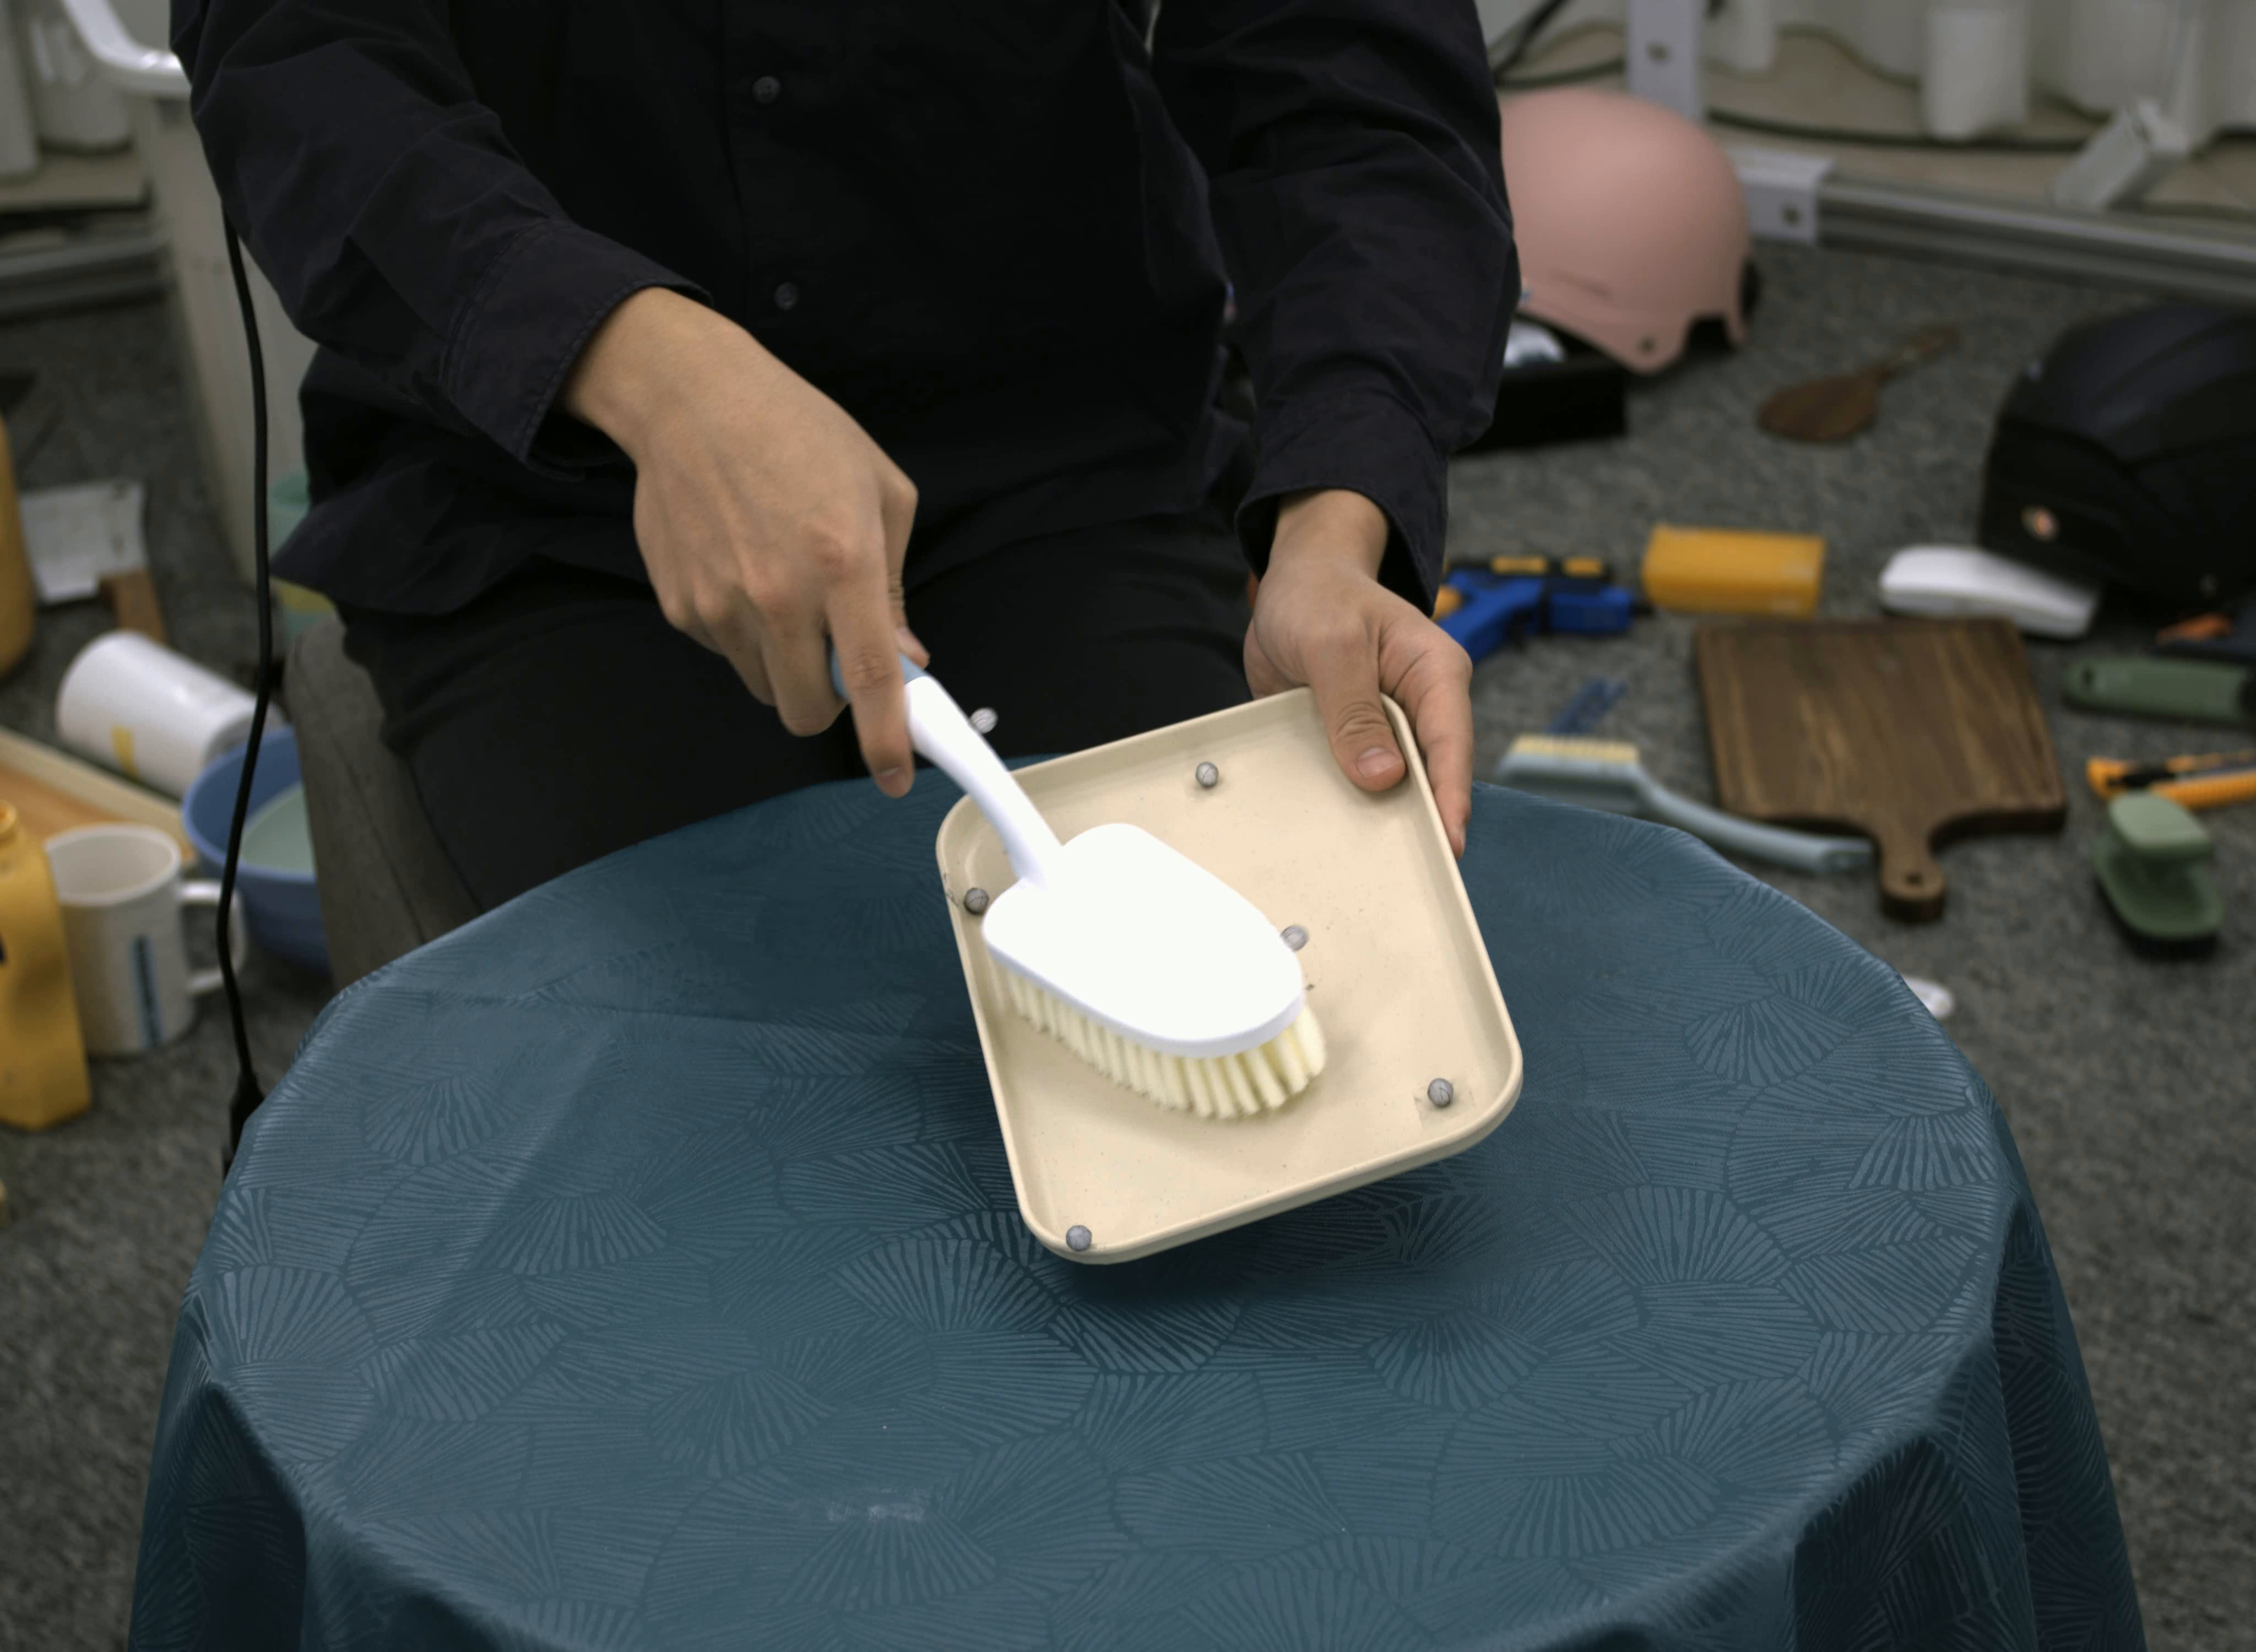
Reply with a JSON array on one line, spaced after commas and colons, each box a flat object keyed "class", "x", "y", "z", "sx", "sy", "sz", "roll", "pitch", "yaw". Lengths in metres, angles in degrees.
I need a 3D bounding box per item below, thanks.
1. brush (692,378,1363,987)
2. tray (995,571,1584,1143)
[{"class": "brush", "x": -0.035, "y": -0.045, "z": 1.923, "sx": 0.327, "sy": 0.083, "sz": 0.083, "roll": 39, "pitch": 27, "yaw": 31}, {"class": "tray", "x": 0.052, "y": 0.009, "z": 1.888, "sx": 0.170, "sy": 0.017, "sz": 0.243, "roll": -17, "pitch": 40, "yaw": 1}]
